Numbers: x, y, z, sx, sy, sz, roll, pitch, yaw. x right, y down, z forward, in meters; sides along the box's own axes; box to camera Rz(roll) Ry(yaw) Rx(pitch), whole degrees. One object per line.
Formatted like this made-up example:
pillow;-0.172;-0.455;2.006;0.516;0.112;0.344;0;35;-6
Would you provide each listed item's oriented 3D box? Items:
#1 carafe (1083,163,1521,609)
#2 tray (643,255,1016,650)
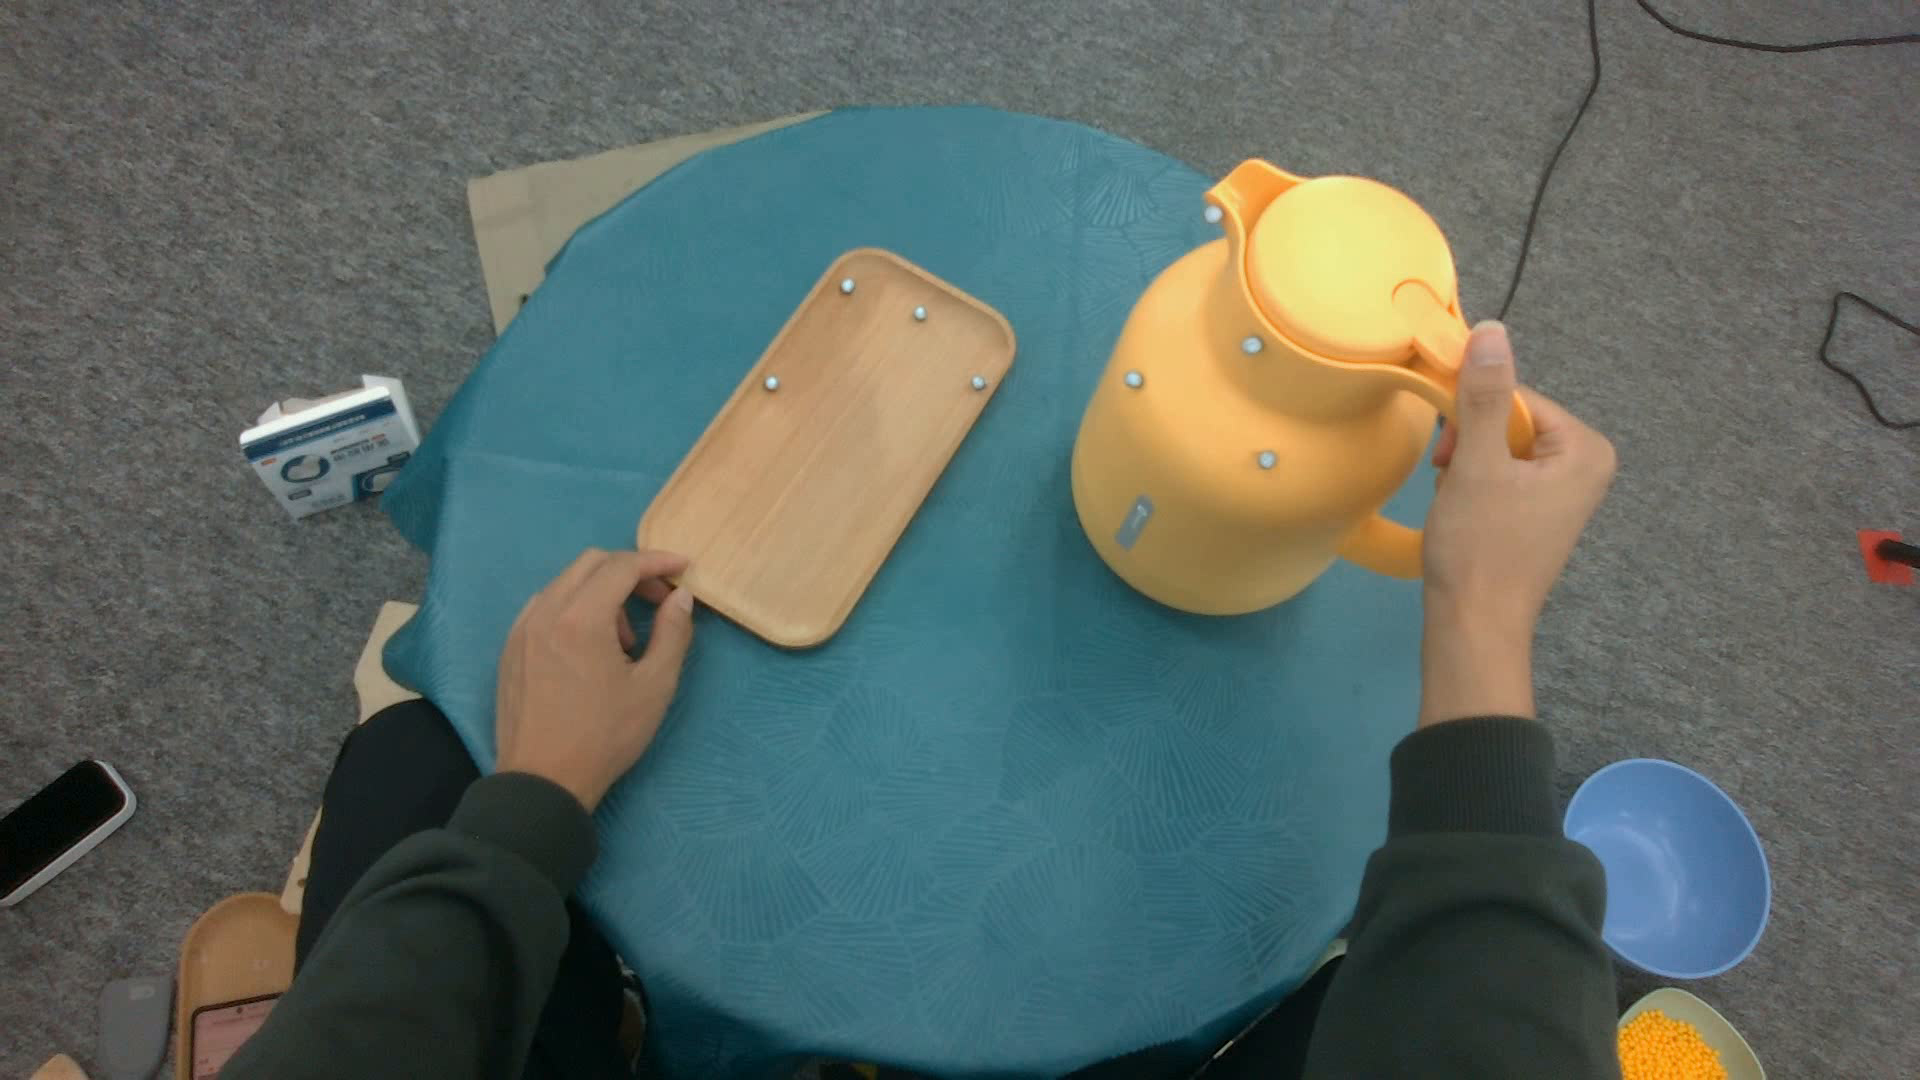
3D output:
carafe;0.169;-0.061;0.706;0.164;0.259;0.202;-40;75;-16
tray;-0.072;-0.057;0.812;0.130;0.023;0.251;29;67;9
